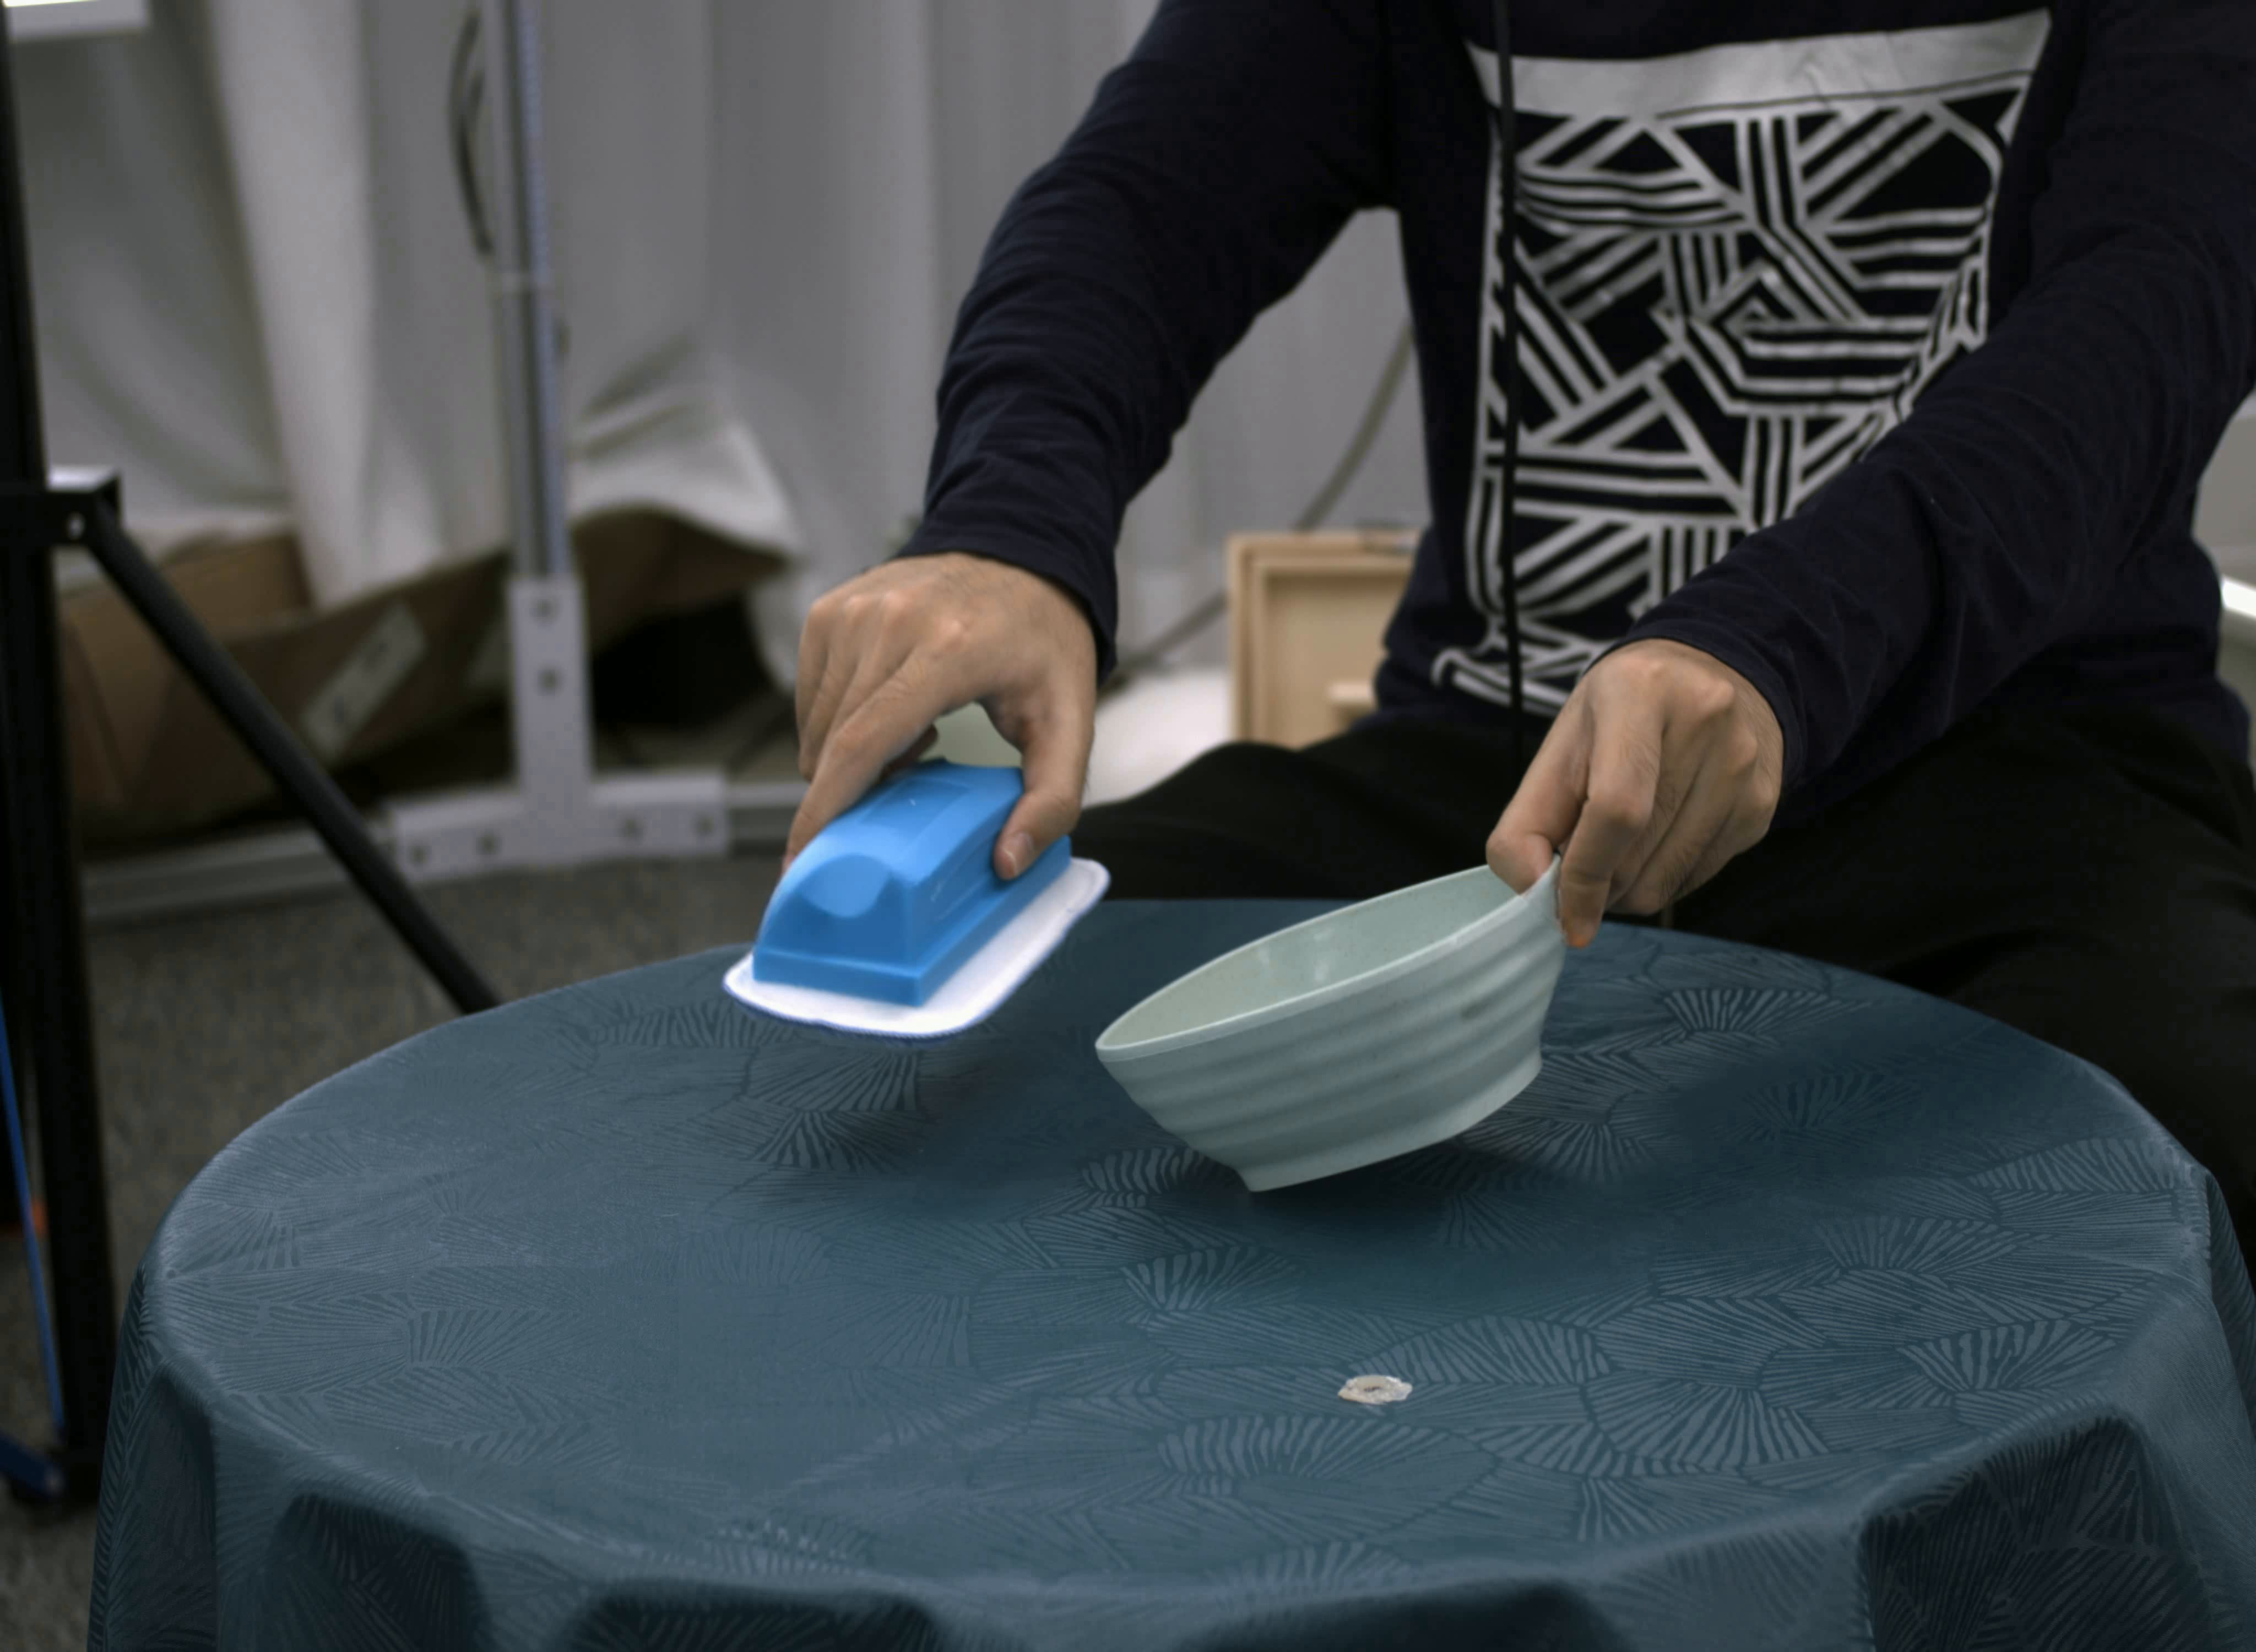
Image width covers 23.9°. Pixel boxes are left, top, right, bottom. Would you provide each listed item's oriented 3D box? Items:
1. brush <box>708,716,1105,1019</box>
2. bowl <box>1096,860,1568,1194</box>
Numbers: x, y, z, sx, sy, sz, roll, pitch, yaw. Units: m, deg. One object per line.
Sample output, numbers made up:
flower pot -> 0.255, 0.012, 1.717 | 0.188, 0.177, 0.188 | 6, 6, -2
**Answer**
brush -> -0.065, 0.008, 1.631 | 0.085, 0.056, 0.142 | 14, 28, 20
bowl -> 0.069, 0.064, 1.559 | 0.151, 0.059, 0.152 | -20, 6, 0
